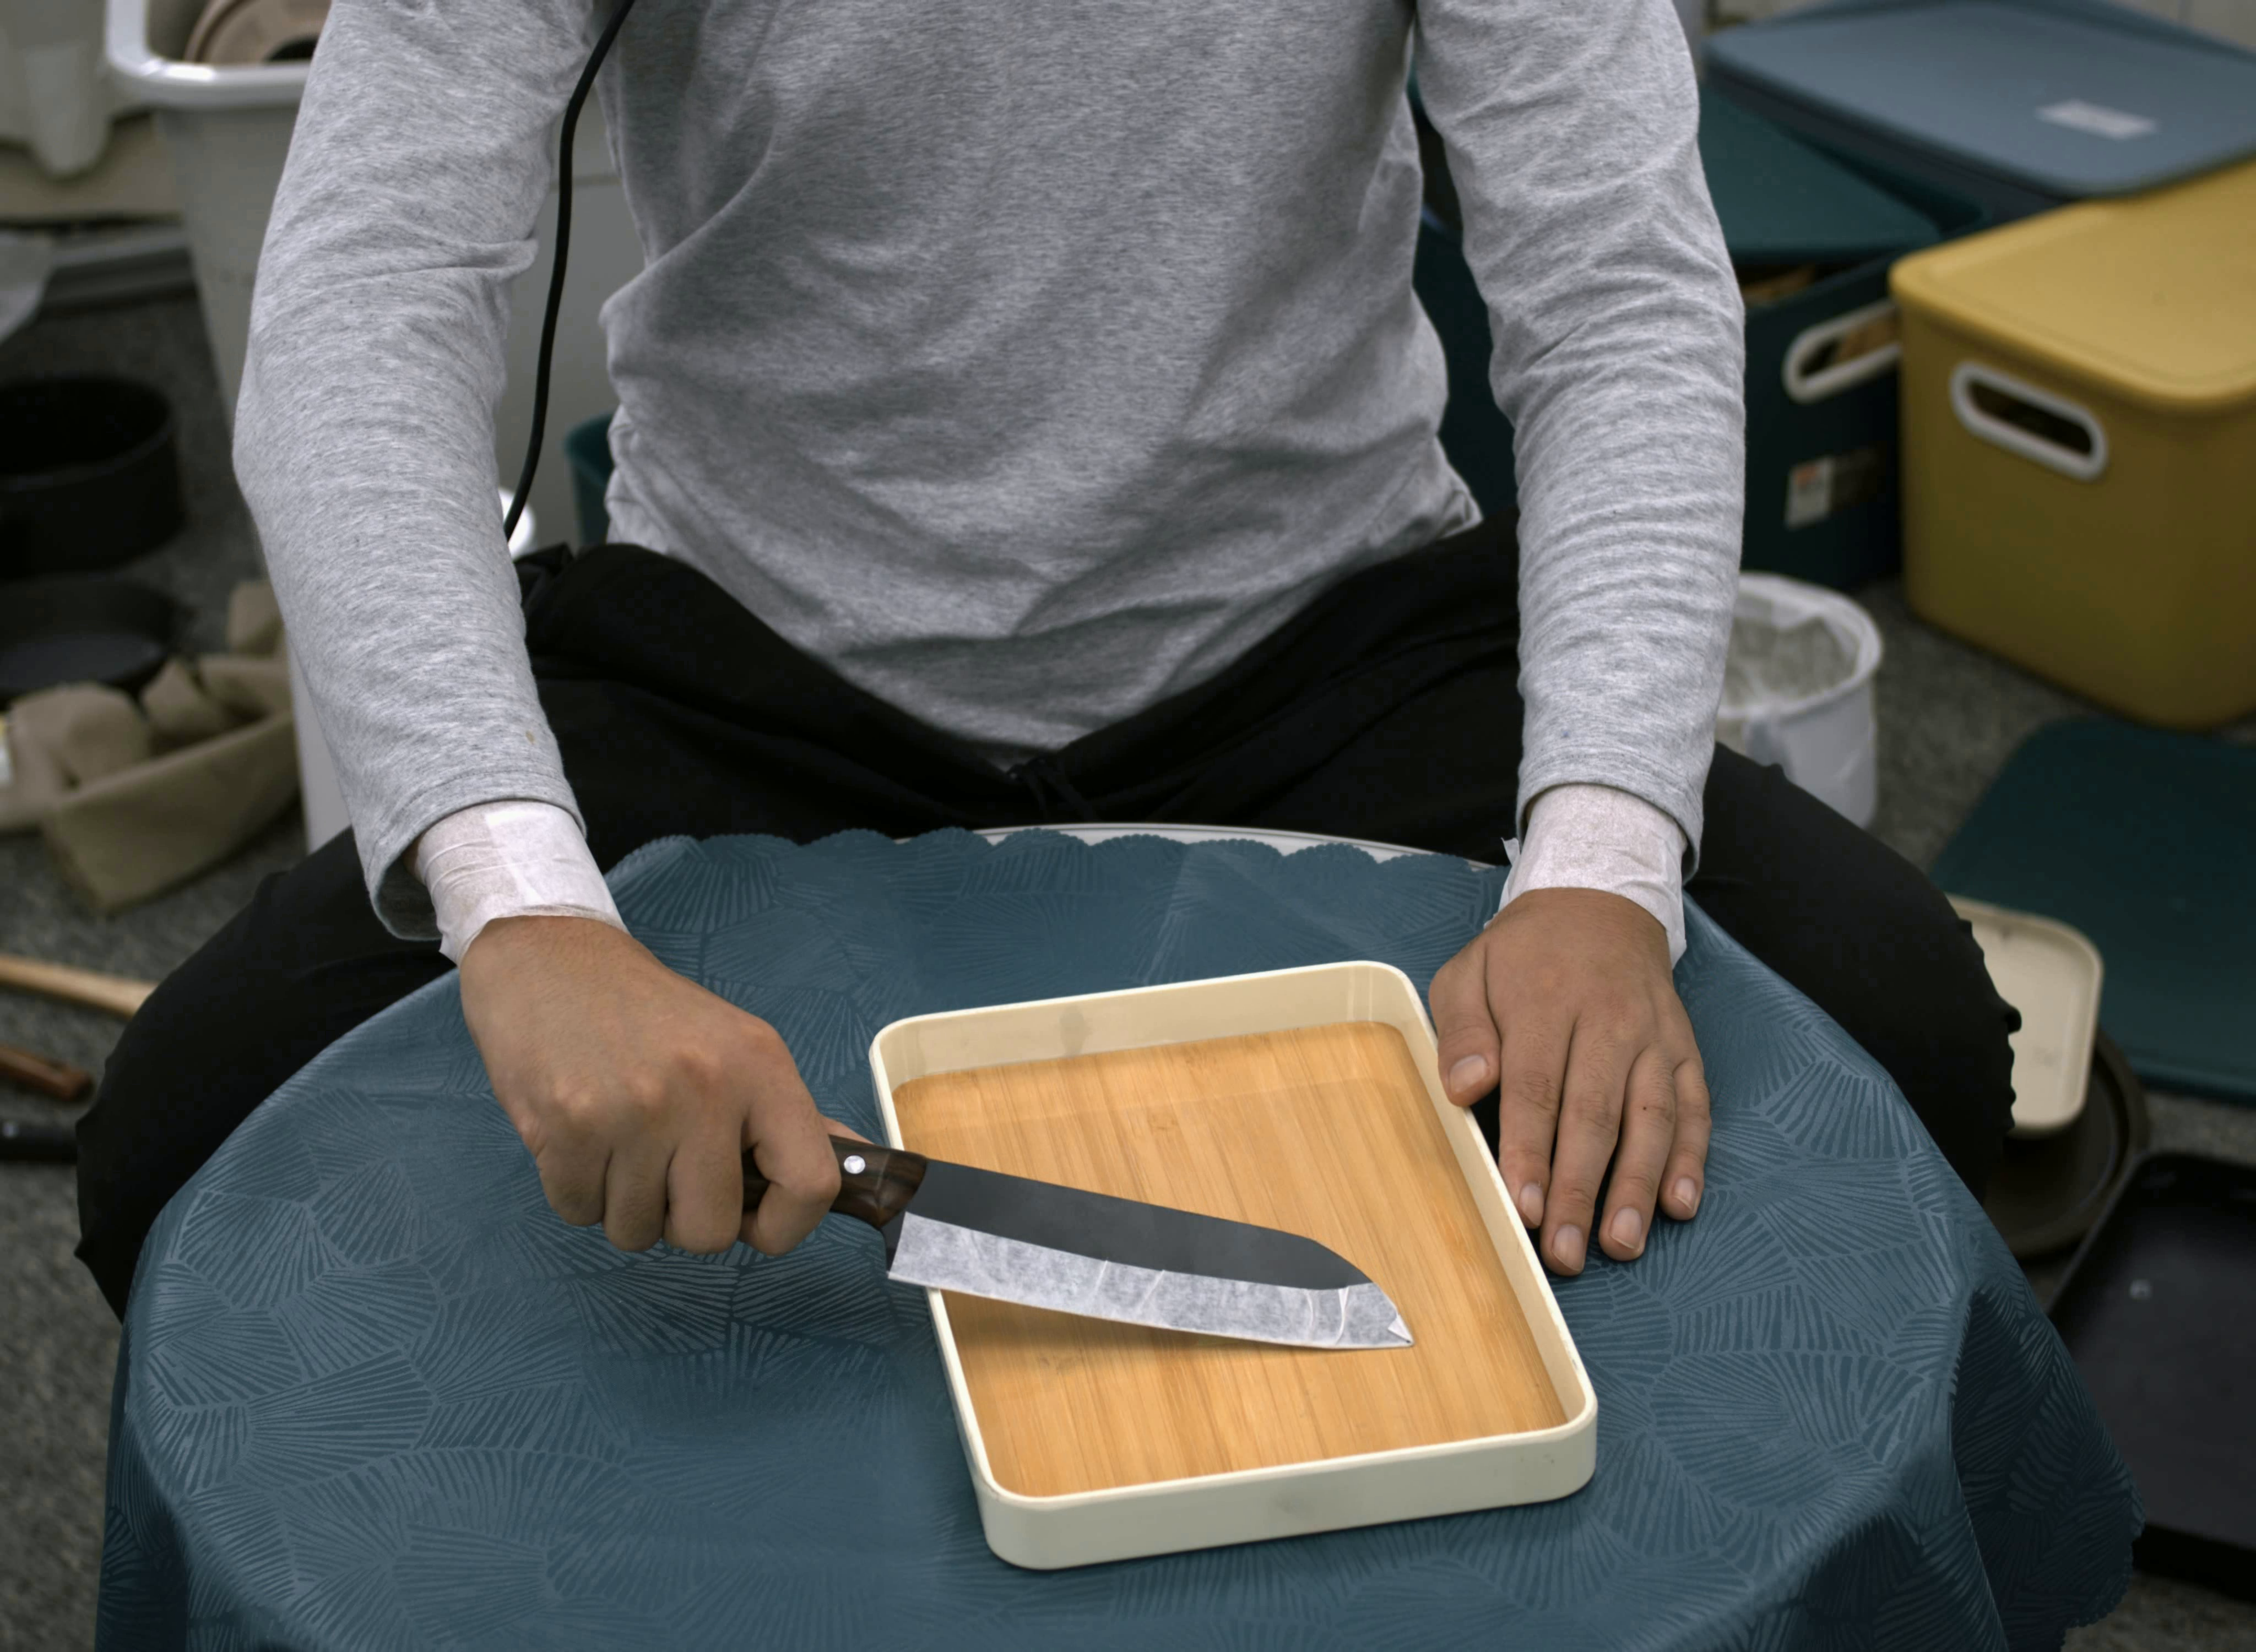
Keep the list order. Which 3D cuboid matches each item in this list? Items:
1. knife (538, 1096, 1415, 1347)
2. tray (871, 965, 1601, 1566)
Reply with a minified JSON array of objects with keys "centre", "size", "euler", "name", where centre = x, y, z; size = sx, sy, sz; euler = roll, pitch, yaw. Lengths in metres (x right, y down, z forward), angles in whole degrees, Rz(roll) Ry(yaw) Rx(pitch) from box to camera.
[{"centre":[-0.049,0.126,1.775],"size":[0.288,0.020,0.051],"euler":[13,59,4],"name":"knife"},{"centre":[0.028,0.135,1.805],"size":[0.191,0.027,0.304],"euler":[-6,27,-7],"name":"tray"}]
